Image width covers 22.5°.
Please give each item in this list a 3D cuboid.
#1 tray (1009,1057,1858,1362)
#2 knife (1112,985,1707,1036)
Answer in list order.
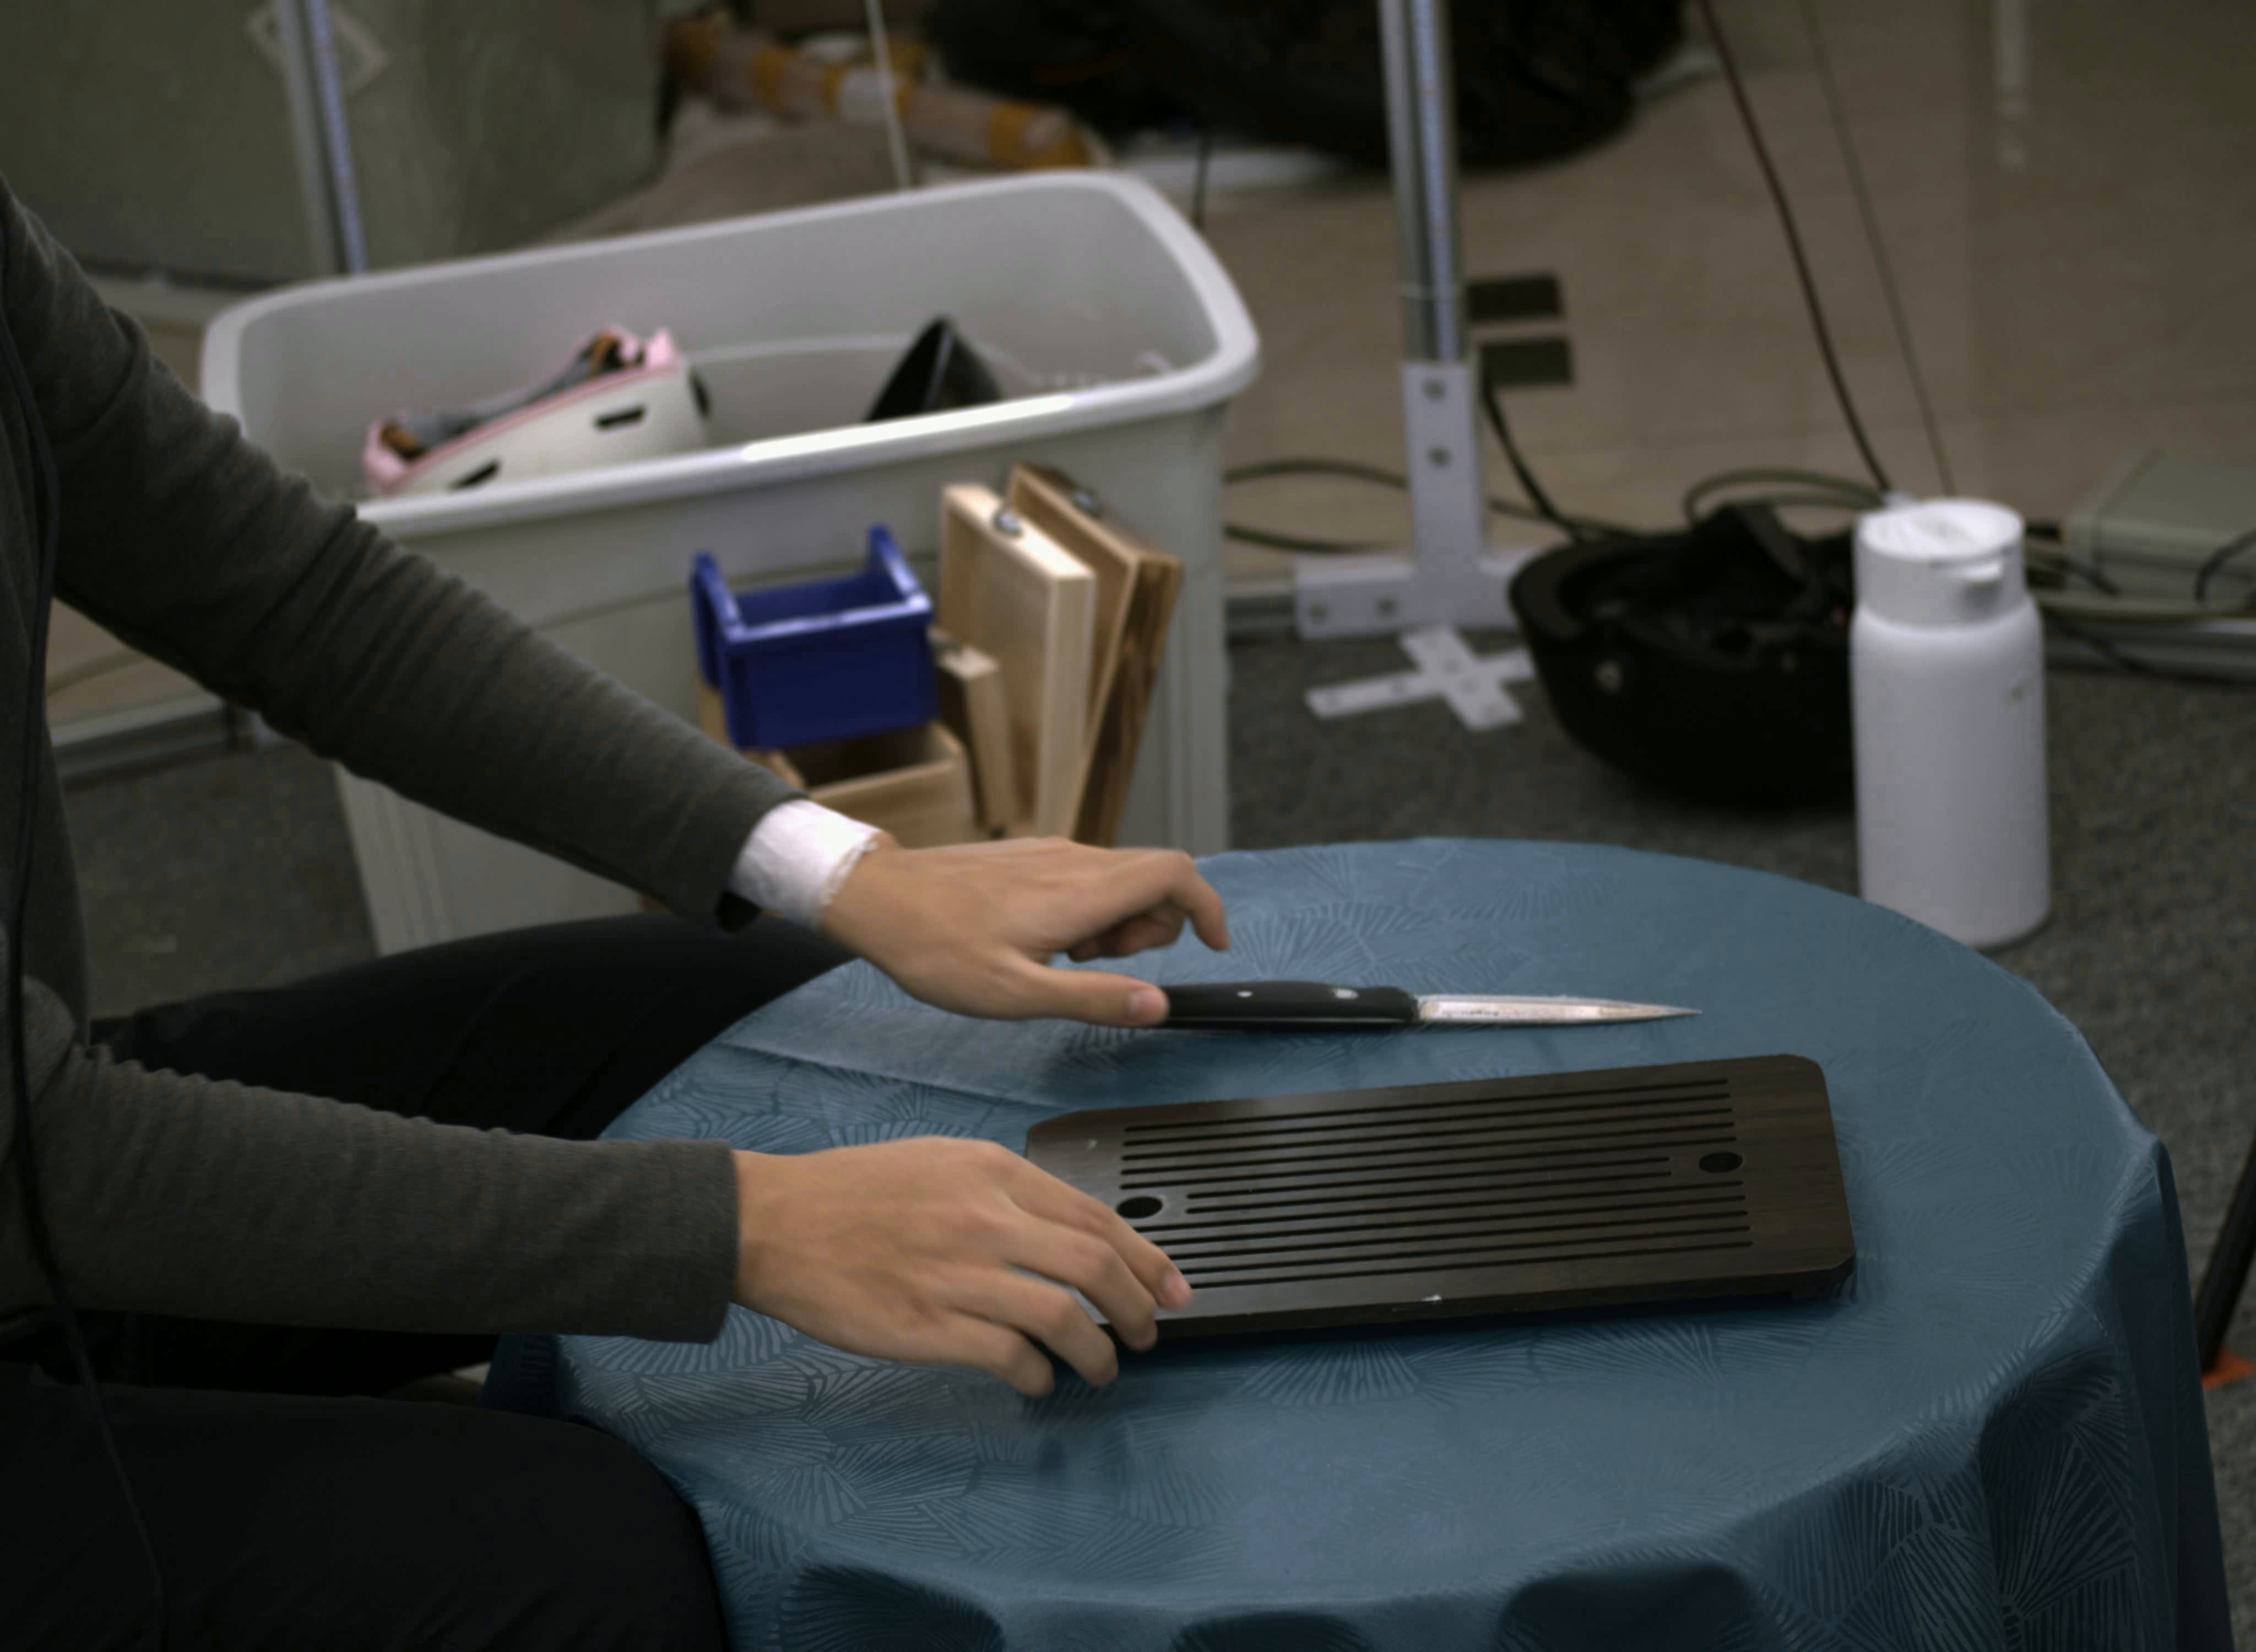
[{"bbox_3d":[0.111,0.142,2.097,0.305,0.019,0.167,-5,24,4],"label":"tray"},{"bbox_3d":[0.111,0.073,2.253,0.238,0.016,0.024,0,27,7],"label":"knife"}]
